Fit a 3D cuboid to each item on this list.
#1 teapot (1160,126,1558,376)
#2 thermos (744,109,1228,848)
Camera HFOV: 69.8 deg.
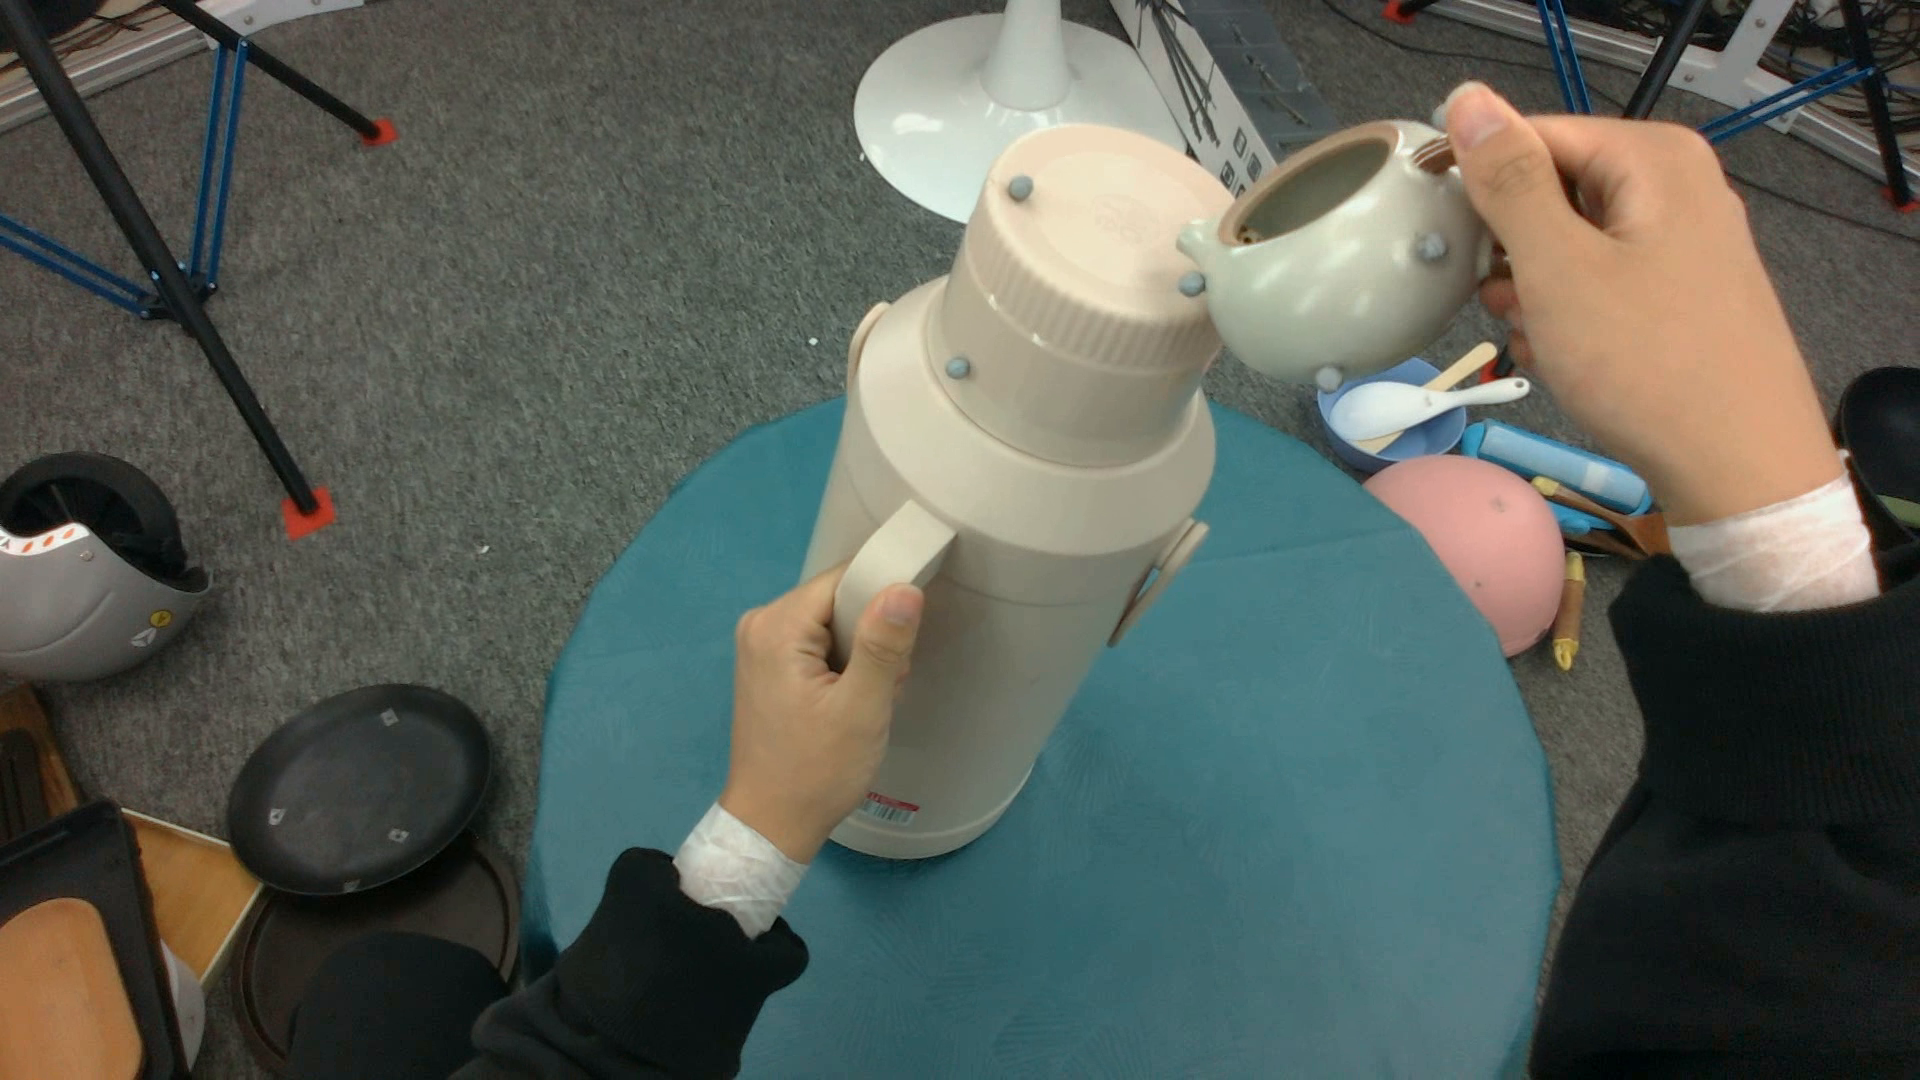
[{"bbox_3d":[0.127,-0.094,0.442,0.127,0.059,0.092,-7,35,46],"label":"teapot"},{"bbox_3d":[-0.006,0.000,0.643,0.175,0.404,0.208,35,51,8],"label":"thermos"}]
